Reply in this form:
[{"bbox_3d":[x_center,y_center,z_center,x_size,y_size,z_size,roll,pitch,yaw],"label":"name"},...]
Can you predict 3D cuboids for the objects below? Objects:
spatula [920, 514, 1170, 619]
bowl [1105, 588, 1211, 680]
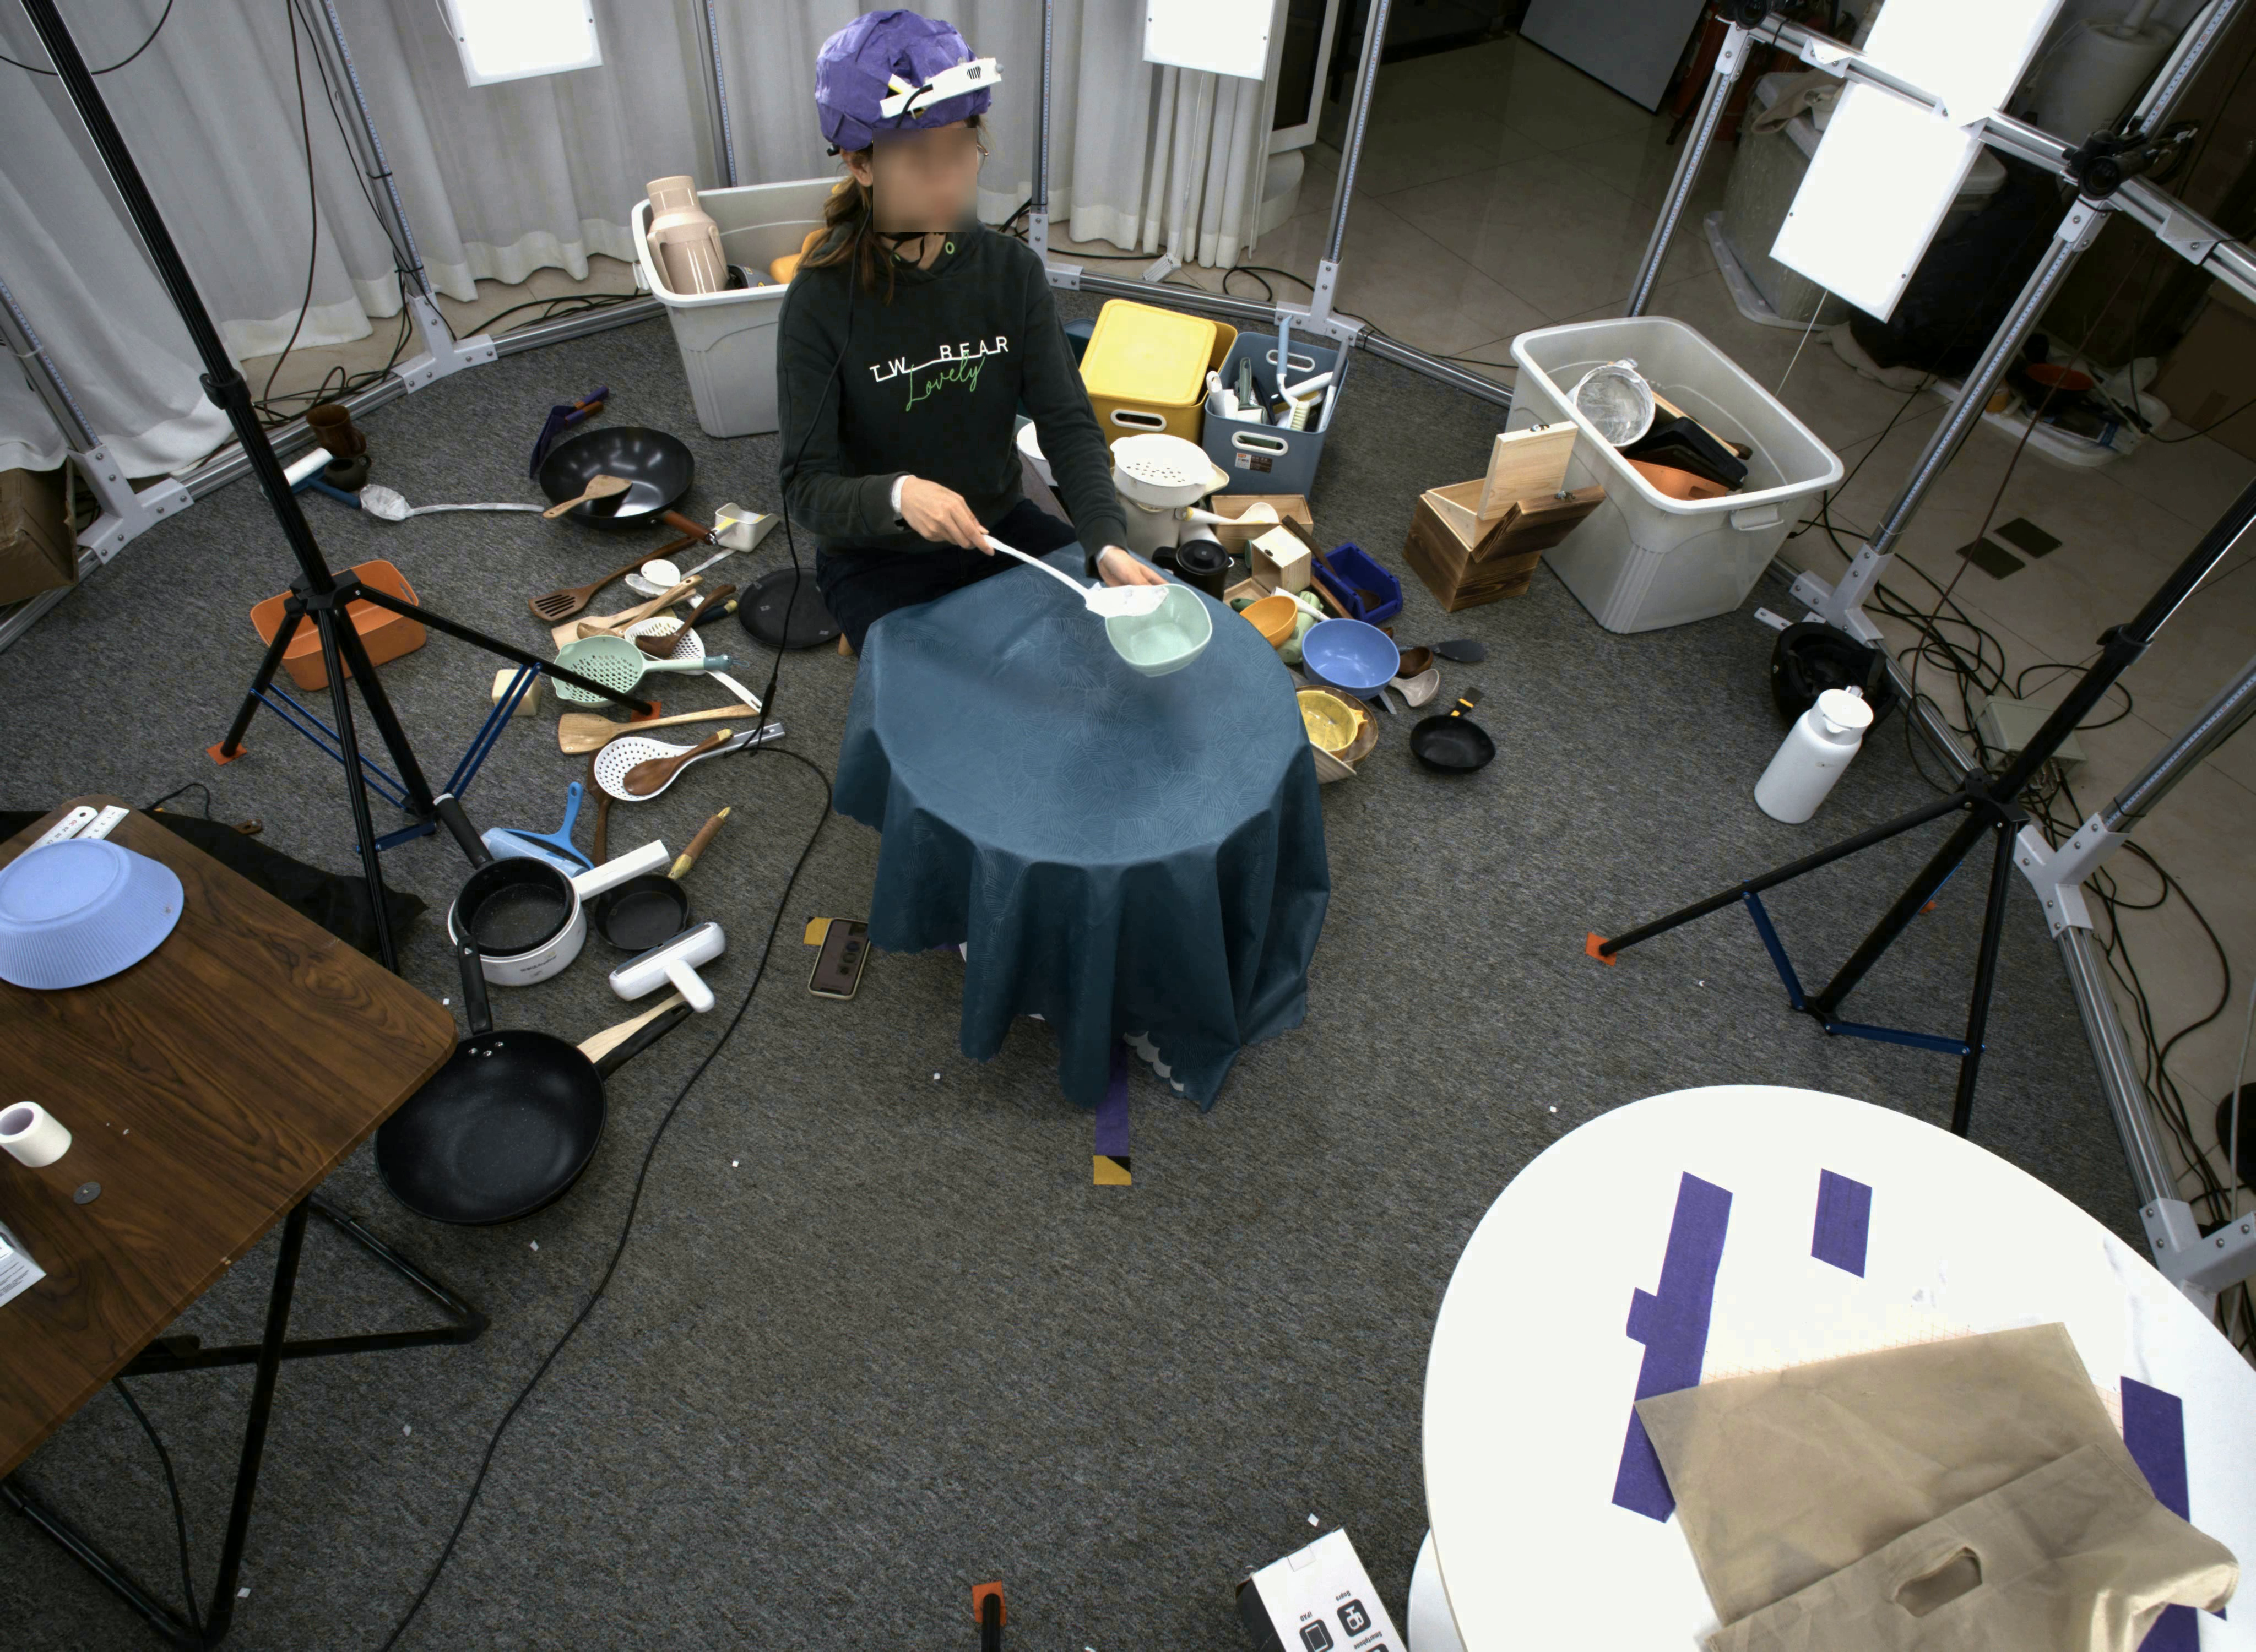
[{"bbox_3d":[-0.119,-0.351,1.705,0.366,0.044,0.100,26,41,9],"label":"spatula"},{"bbox_3d":[0.043,-0.256,1.772,0.151,0.057,0.155,-4,53,5],"label":"bowl"}]
